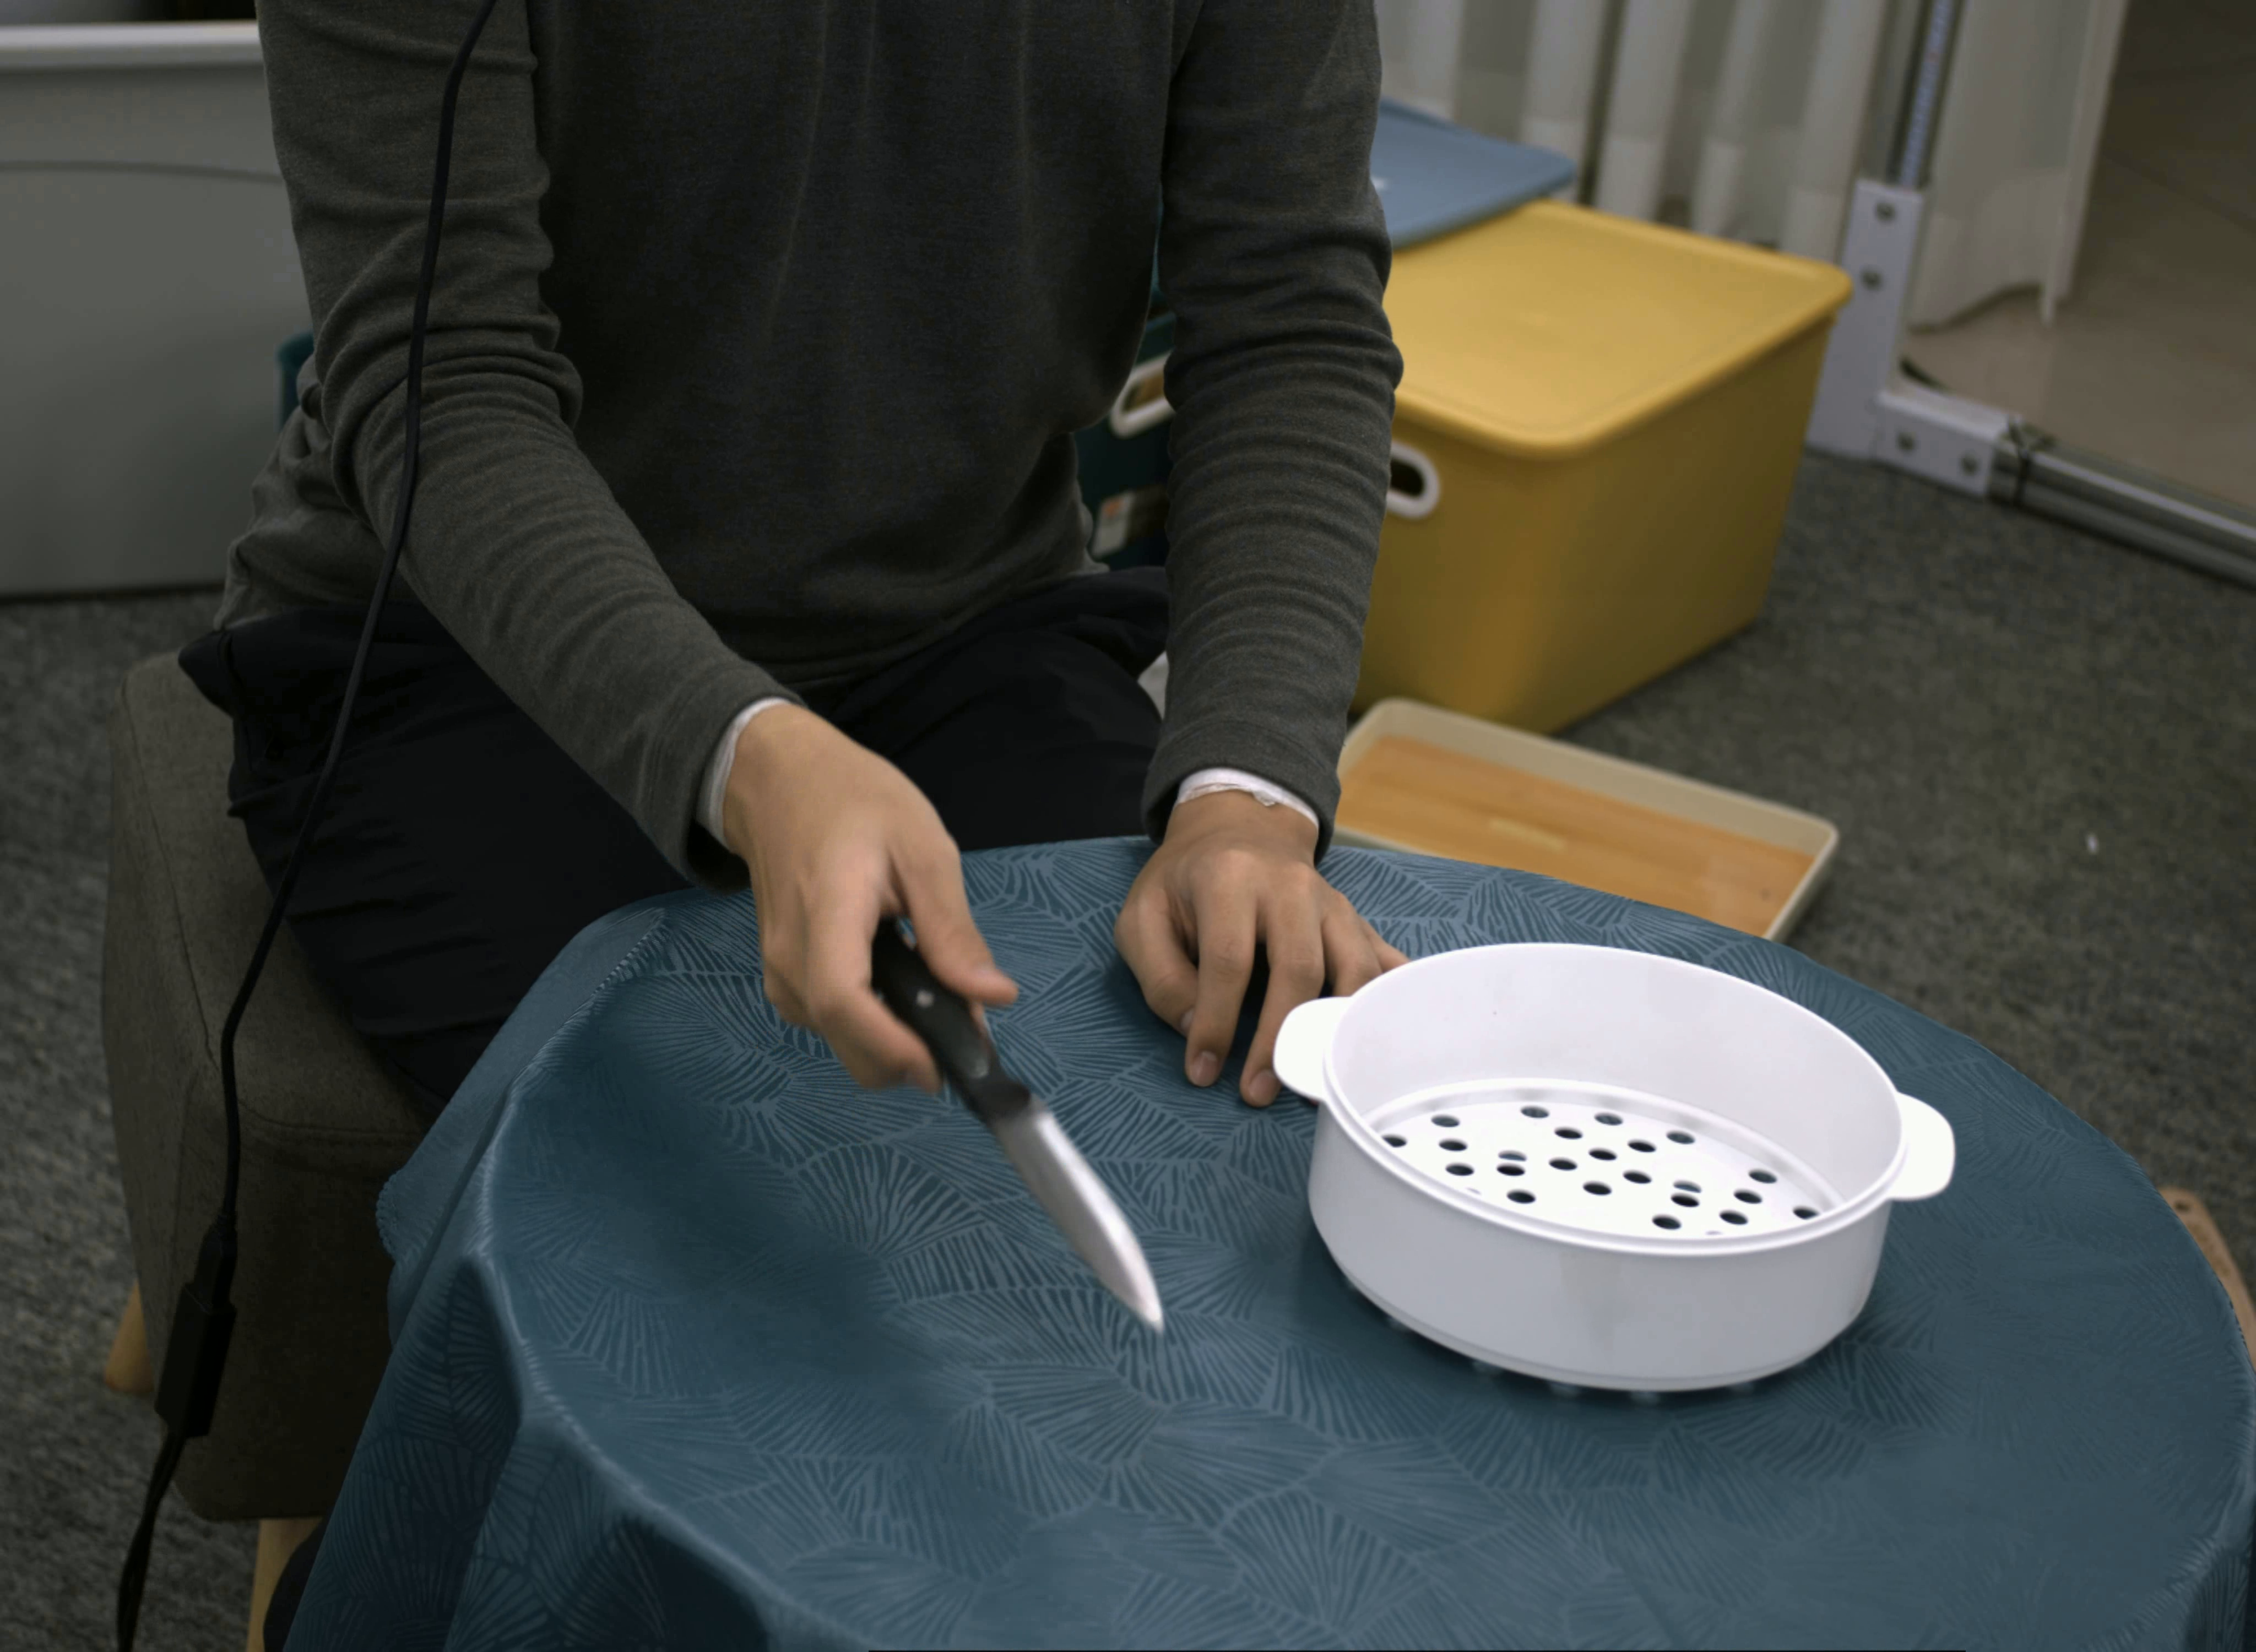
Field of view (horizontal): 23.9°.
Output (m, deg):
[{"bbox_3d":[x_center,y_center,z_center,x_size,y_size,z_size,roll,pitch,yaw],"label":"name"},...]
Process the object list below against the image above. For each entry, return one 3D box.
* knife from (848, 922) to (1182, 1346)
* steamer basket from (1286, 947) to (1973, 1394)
[{"bbox_3d":[-0.038,0.096,1.665,0.024,0.016,0.240,-16,36,-19],"label":"knife"},{"bbox_3d":[0.164,0.115,1.784,0.230,0.069,0.202,9,26,7],"label":"steamer basket"}]
